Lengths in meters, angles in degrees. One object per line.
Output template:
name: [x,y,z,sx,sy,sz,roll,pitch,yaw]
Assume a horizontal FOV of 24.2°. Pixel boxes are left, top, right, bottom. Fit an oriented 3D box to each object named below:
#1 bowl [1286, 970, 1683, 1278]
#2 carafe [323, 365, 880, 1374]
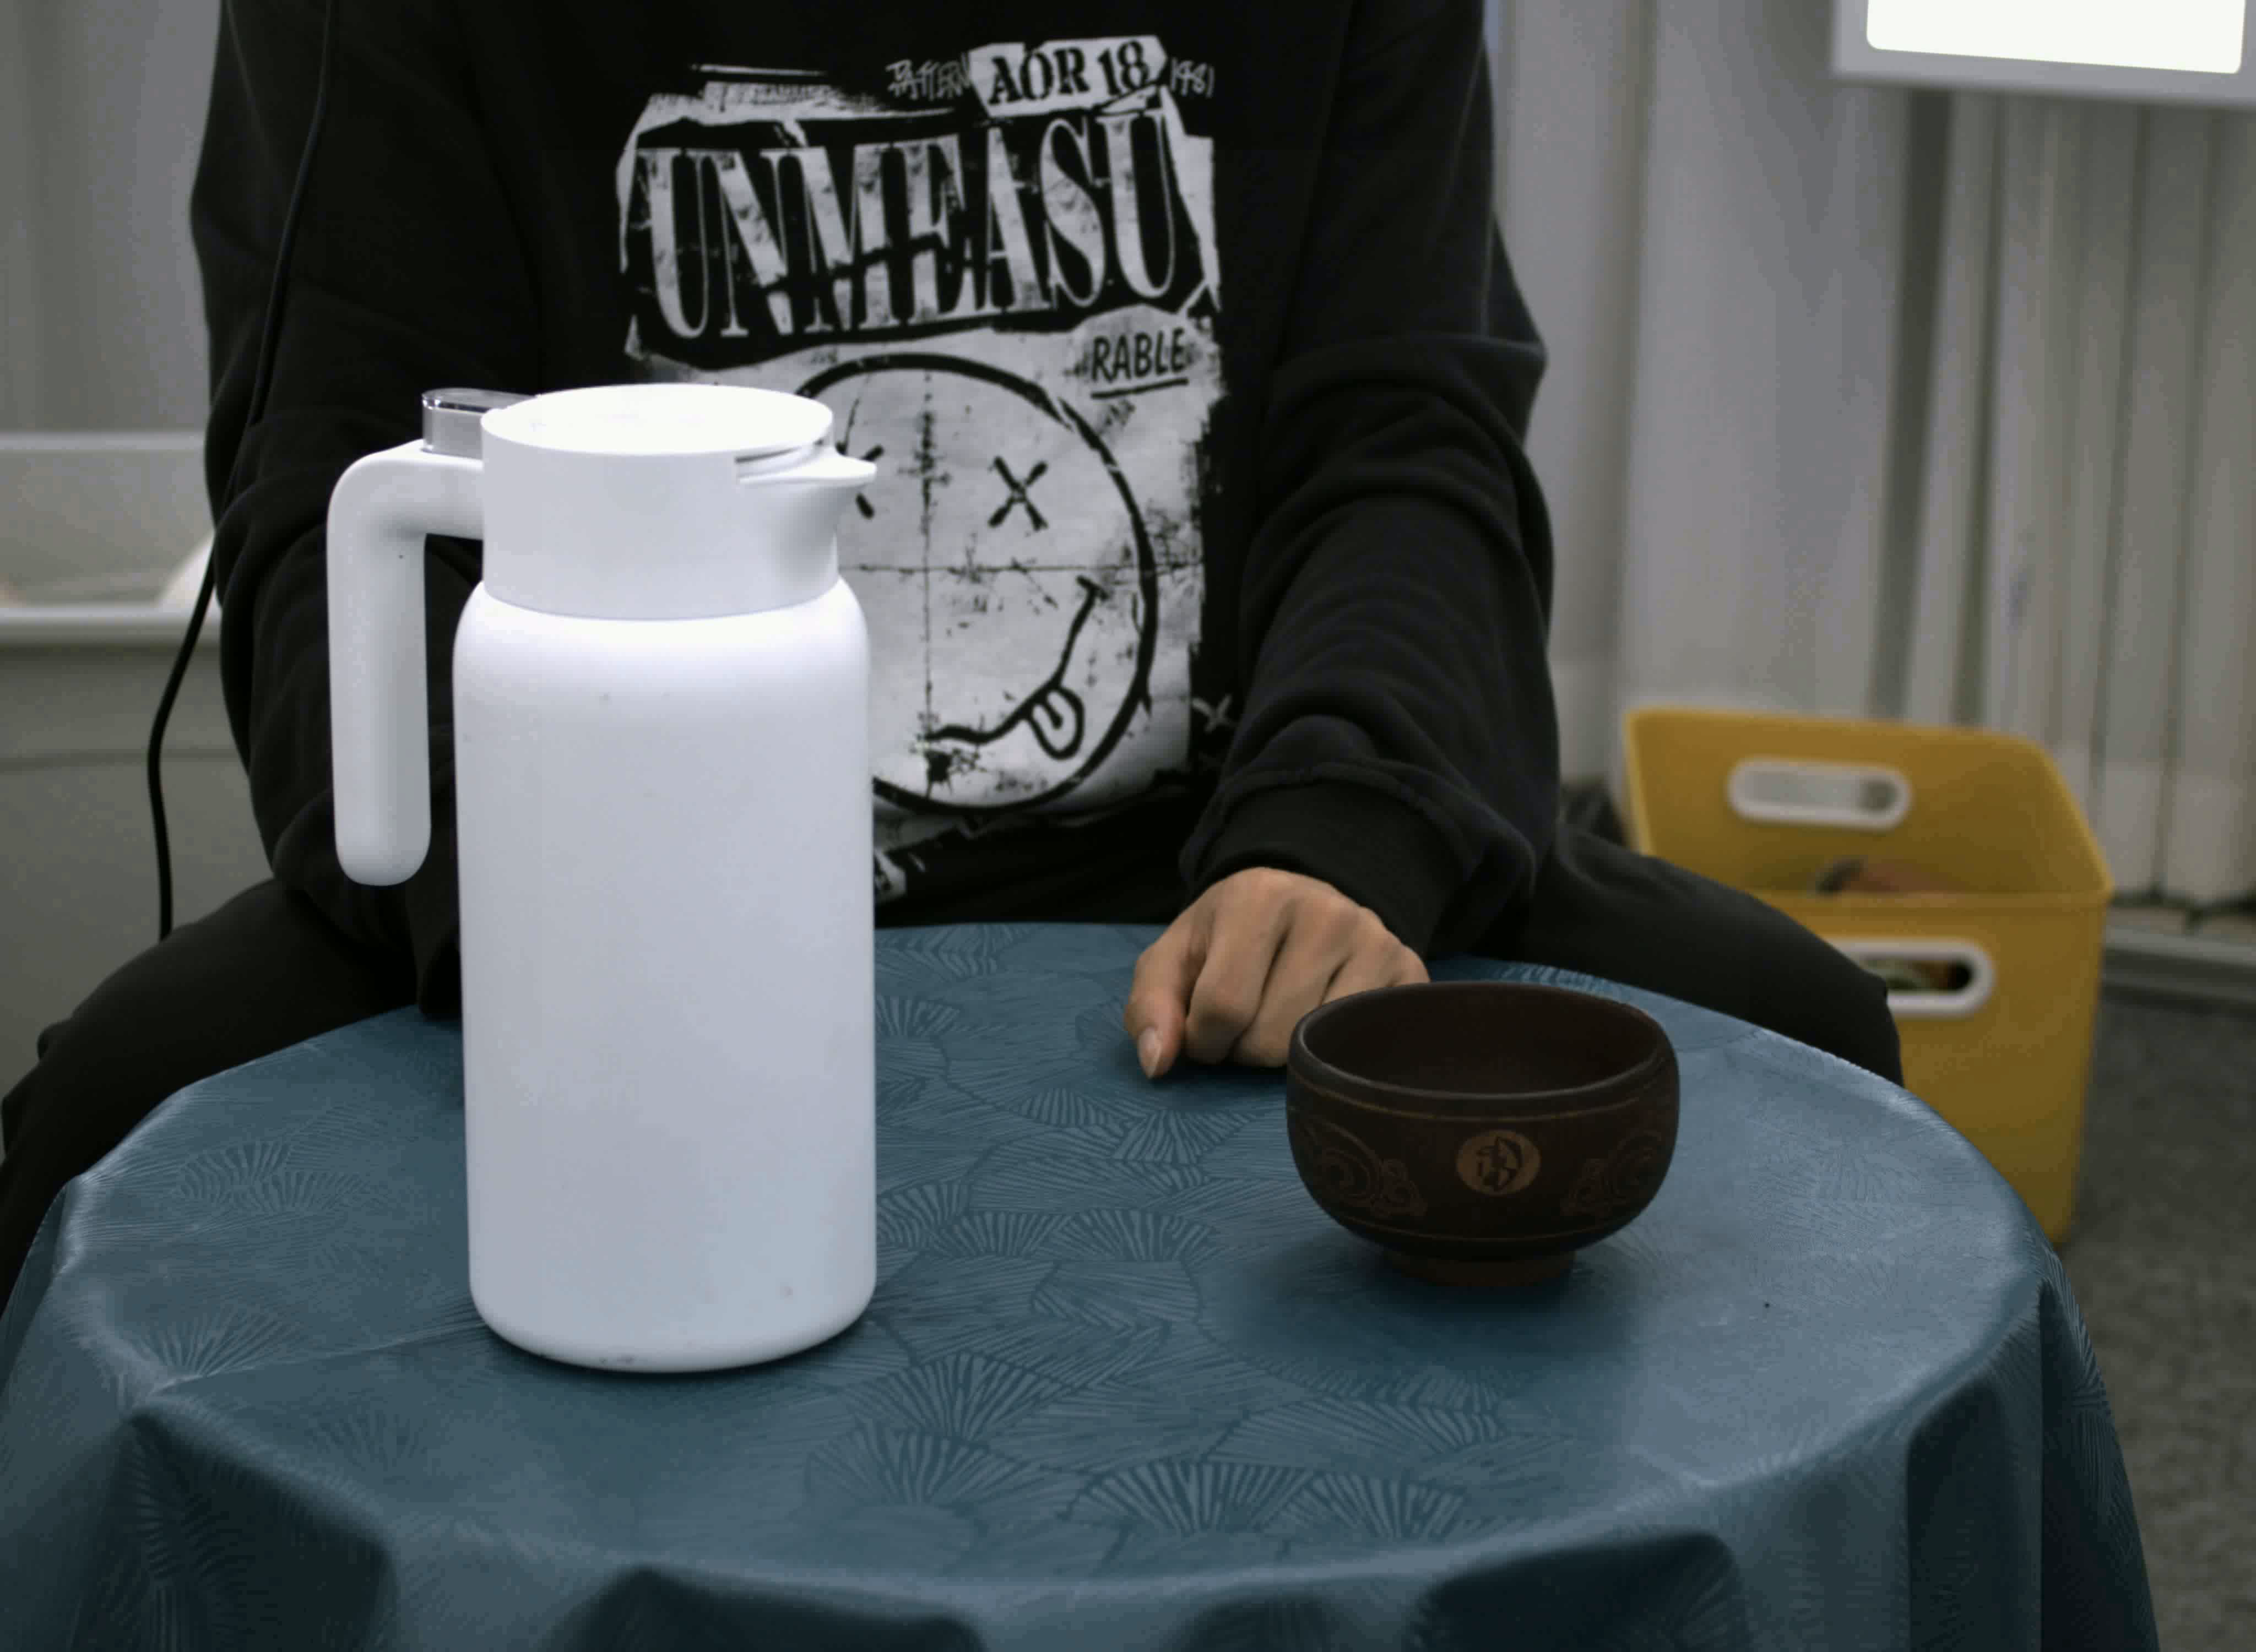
bowl: [0.105,0.092,1.559,0.117,0.070,0.117,0,15,1]
carafe: [-0.147,0.010,1.485,0.171,0.271,0.124,7,19,23]
